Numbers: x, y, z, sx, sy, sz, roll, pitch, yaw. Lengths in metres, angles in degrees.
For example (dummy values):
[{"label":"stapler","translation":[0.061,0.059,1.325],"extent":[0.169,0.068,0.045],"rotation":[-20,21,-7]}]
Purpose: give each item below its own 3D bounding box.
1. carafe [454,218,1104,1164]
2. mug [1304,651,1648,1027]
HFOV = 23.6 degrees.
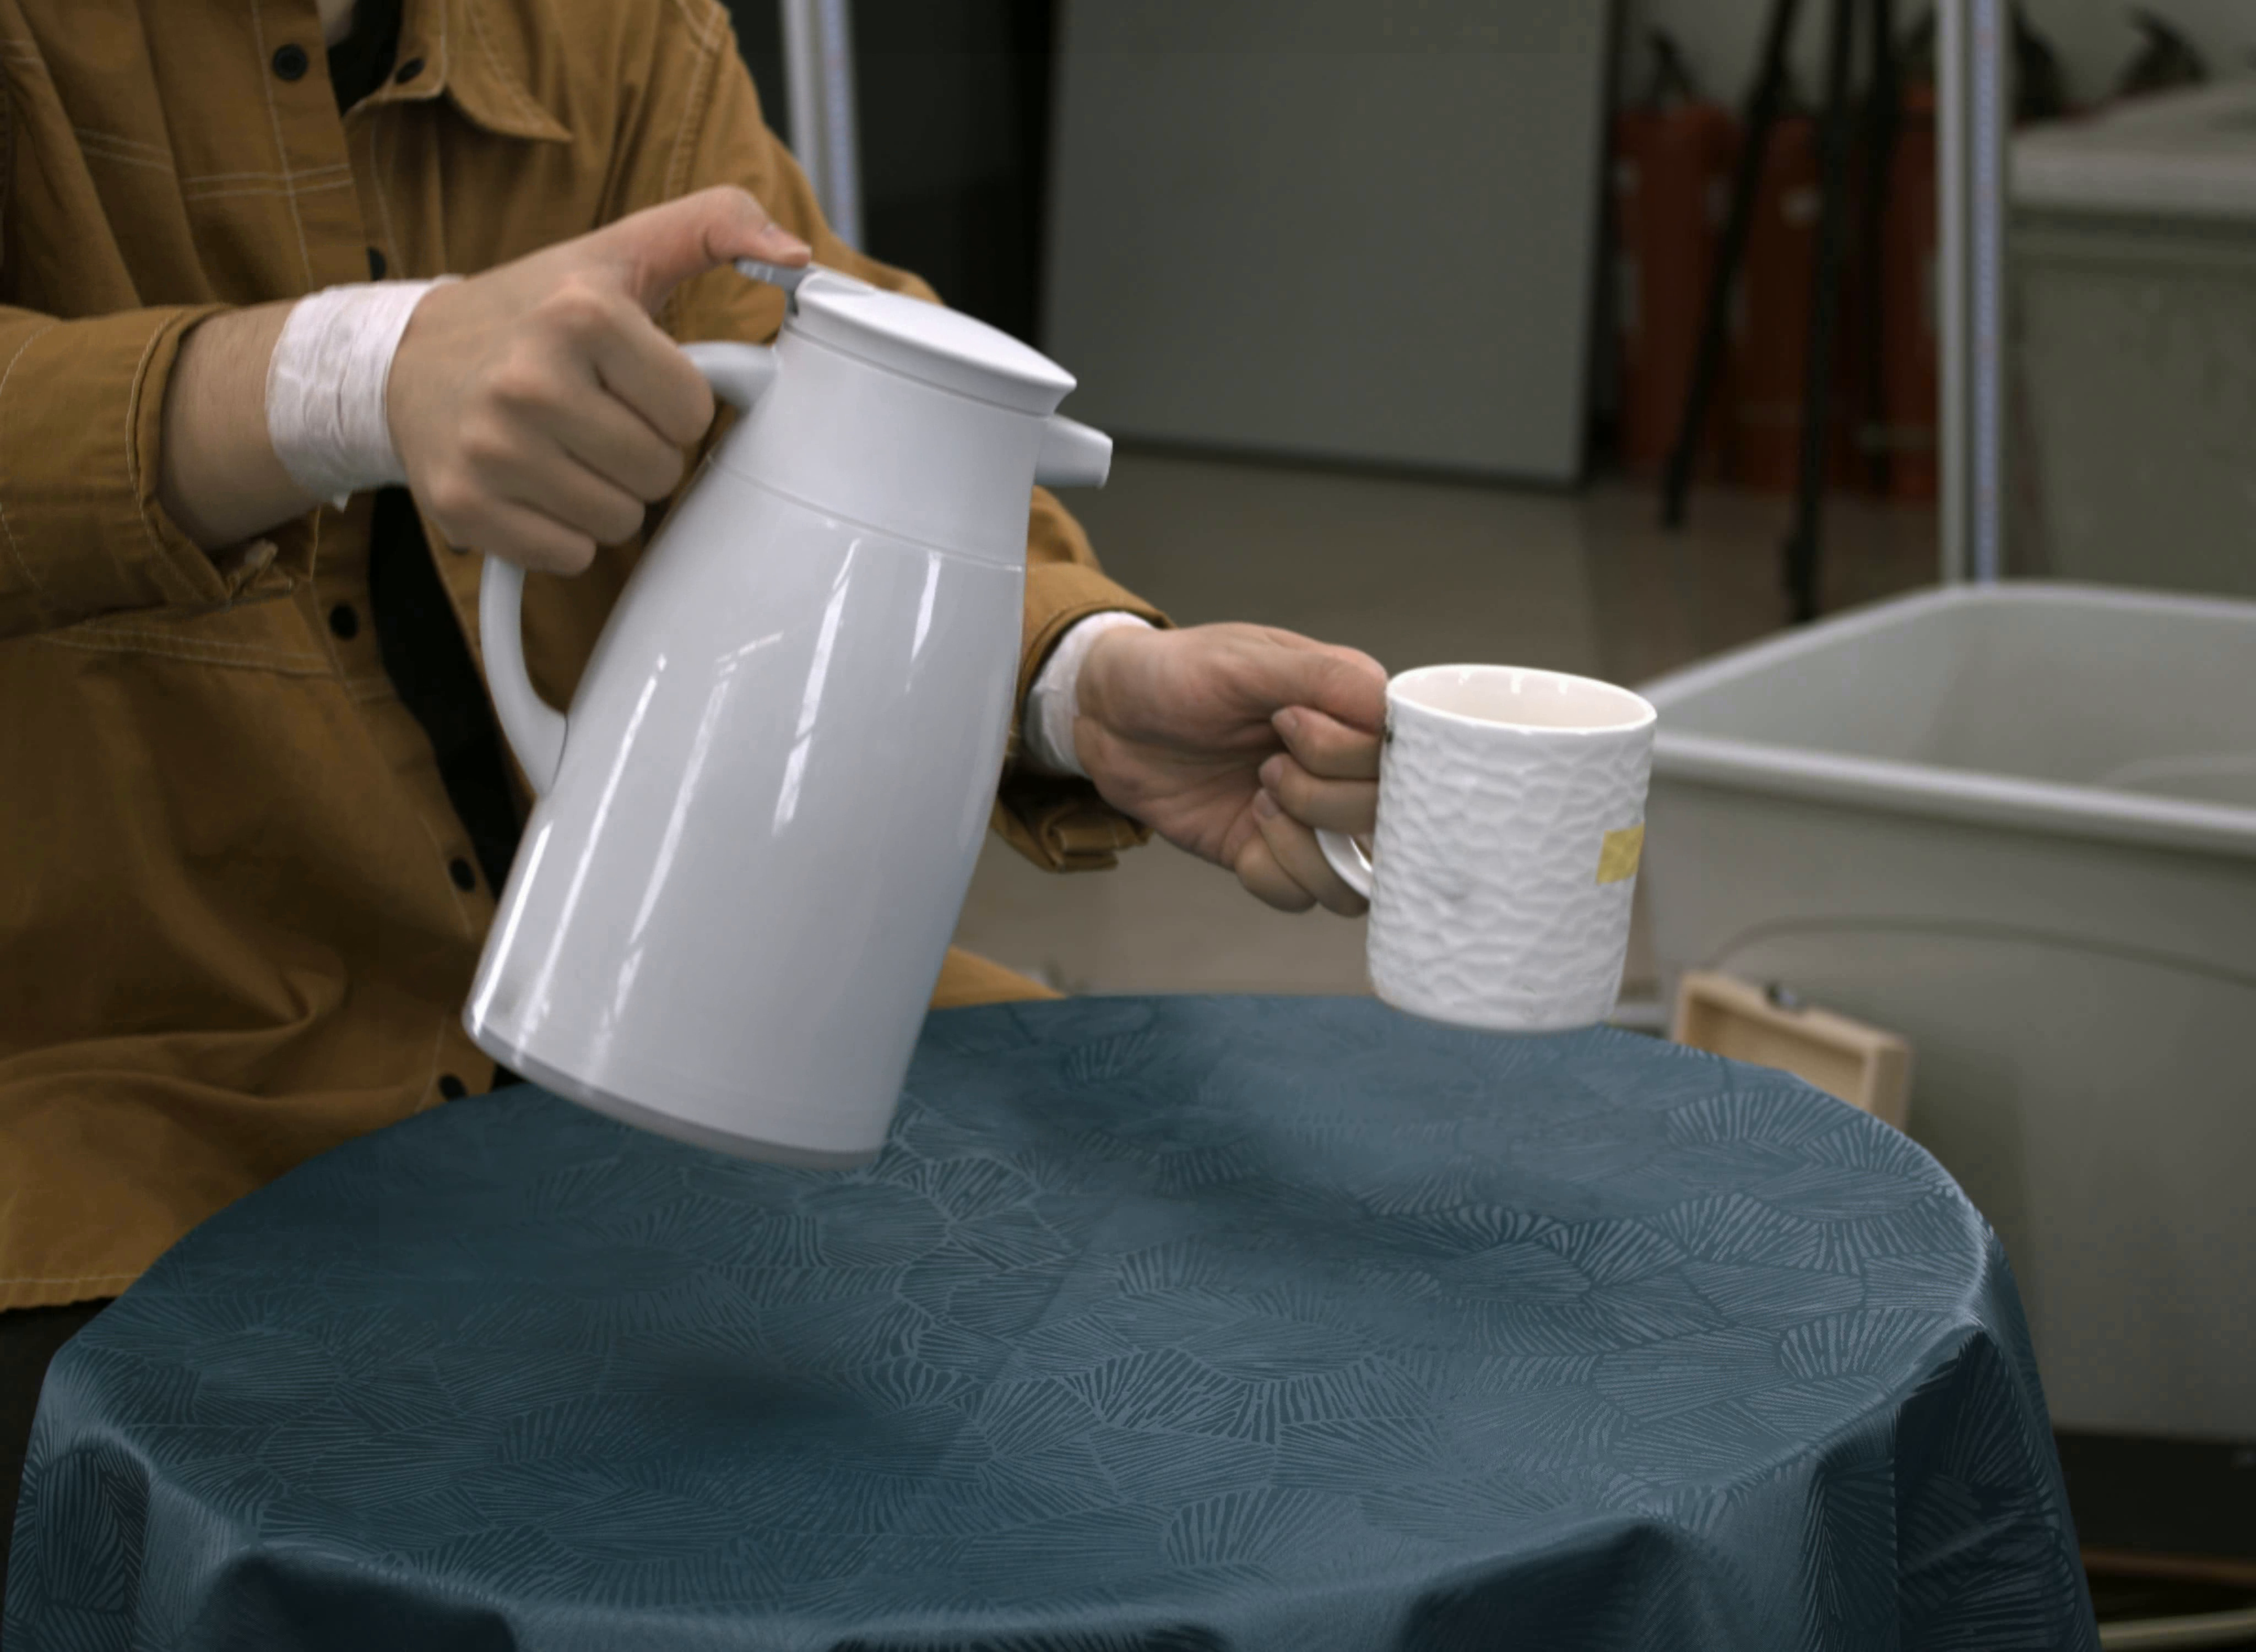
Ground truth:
[{"label":"carafe","translation":[-0.115,-0.047,1.580],"extent":[0.165,0.251,0.133],"rotation":[17,8,-13]},{"label":"mug","translation":[0.105,0.001,1.710],"extent":[0.119,0.103,0.083],"rotation":[14,16,37]}]
